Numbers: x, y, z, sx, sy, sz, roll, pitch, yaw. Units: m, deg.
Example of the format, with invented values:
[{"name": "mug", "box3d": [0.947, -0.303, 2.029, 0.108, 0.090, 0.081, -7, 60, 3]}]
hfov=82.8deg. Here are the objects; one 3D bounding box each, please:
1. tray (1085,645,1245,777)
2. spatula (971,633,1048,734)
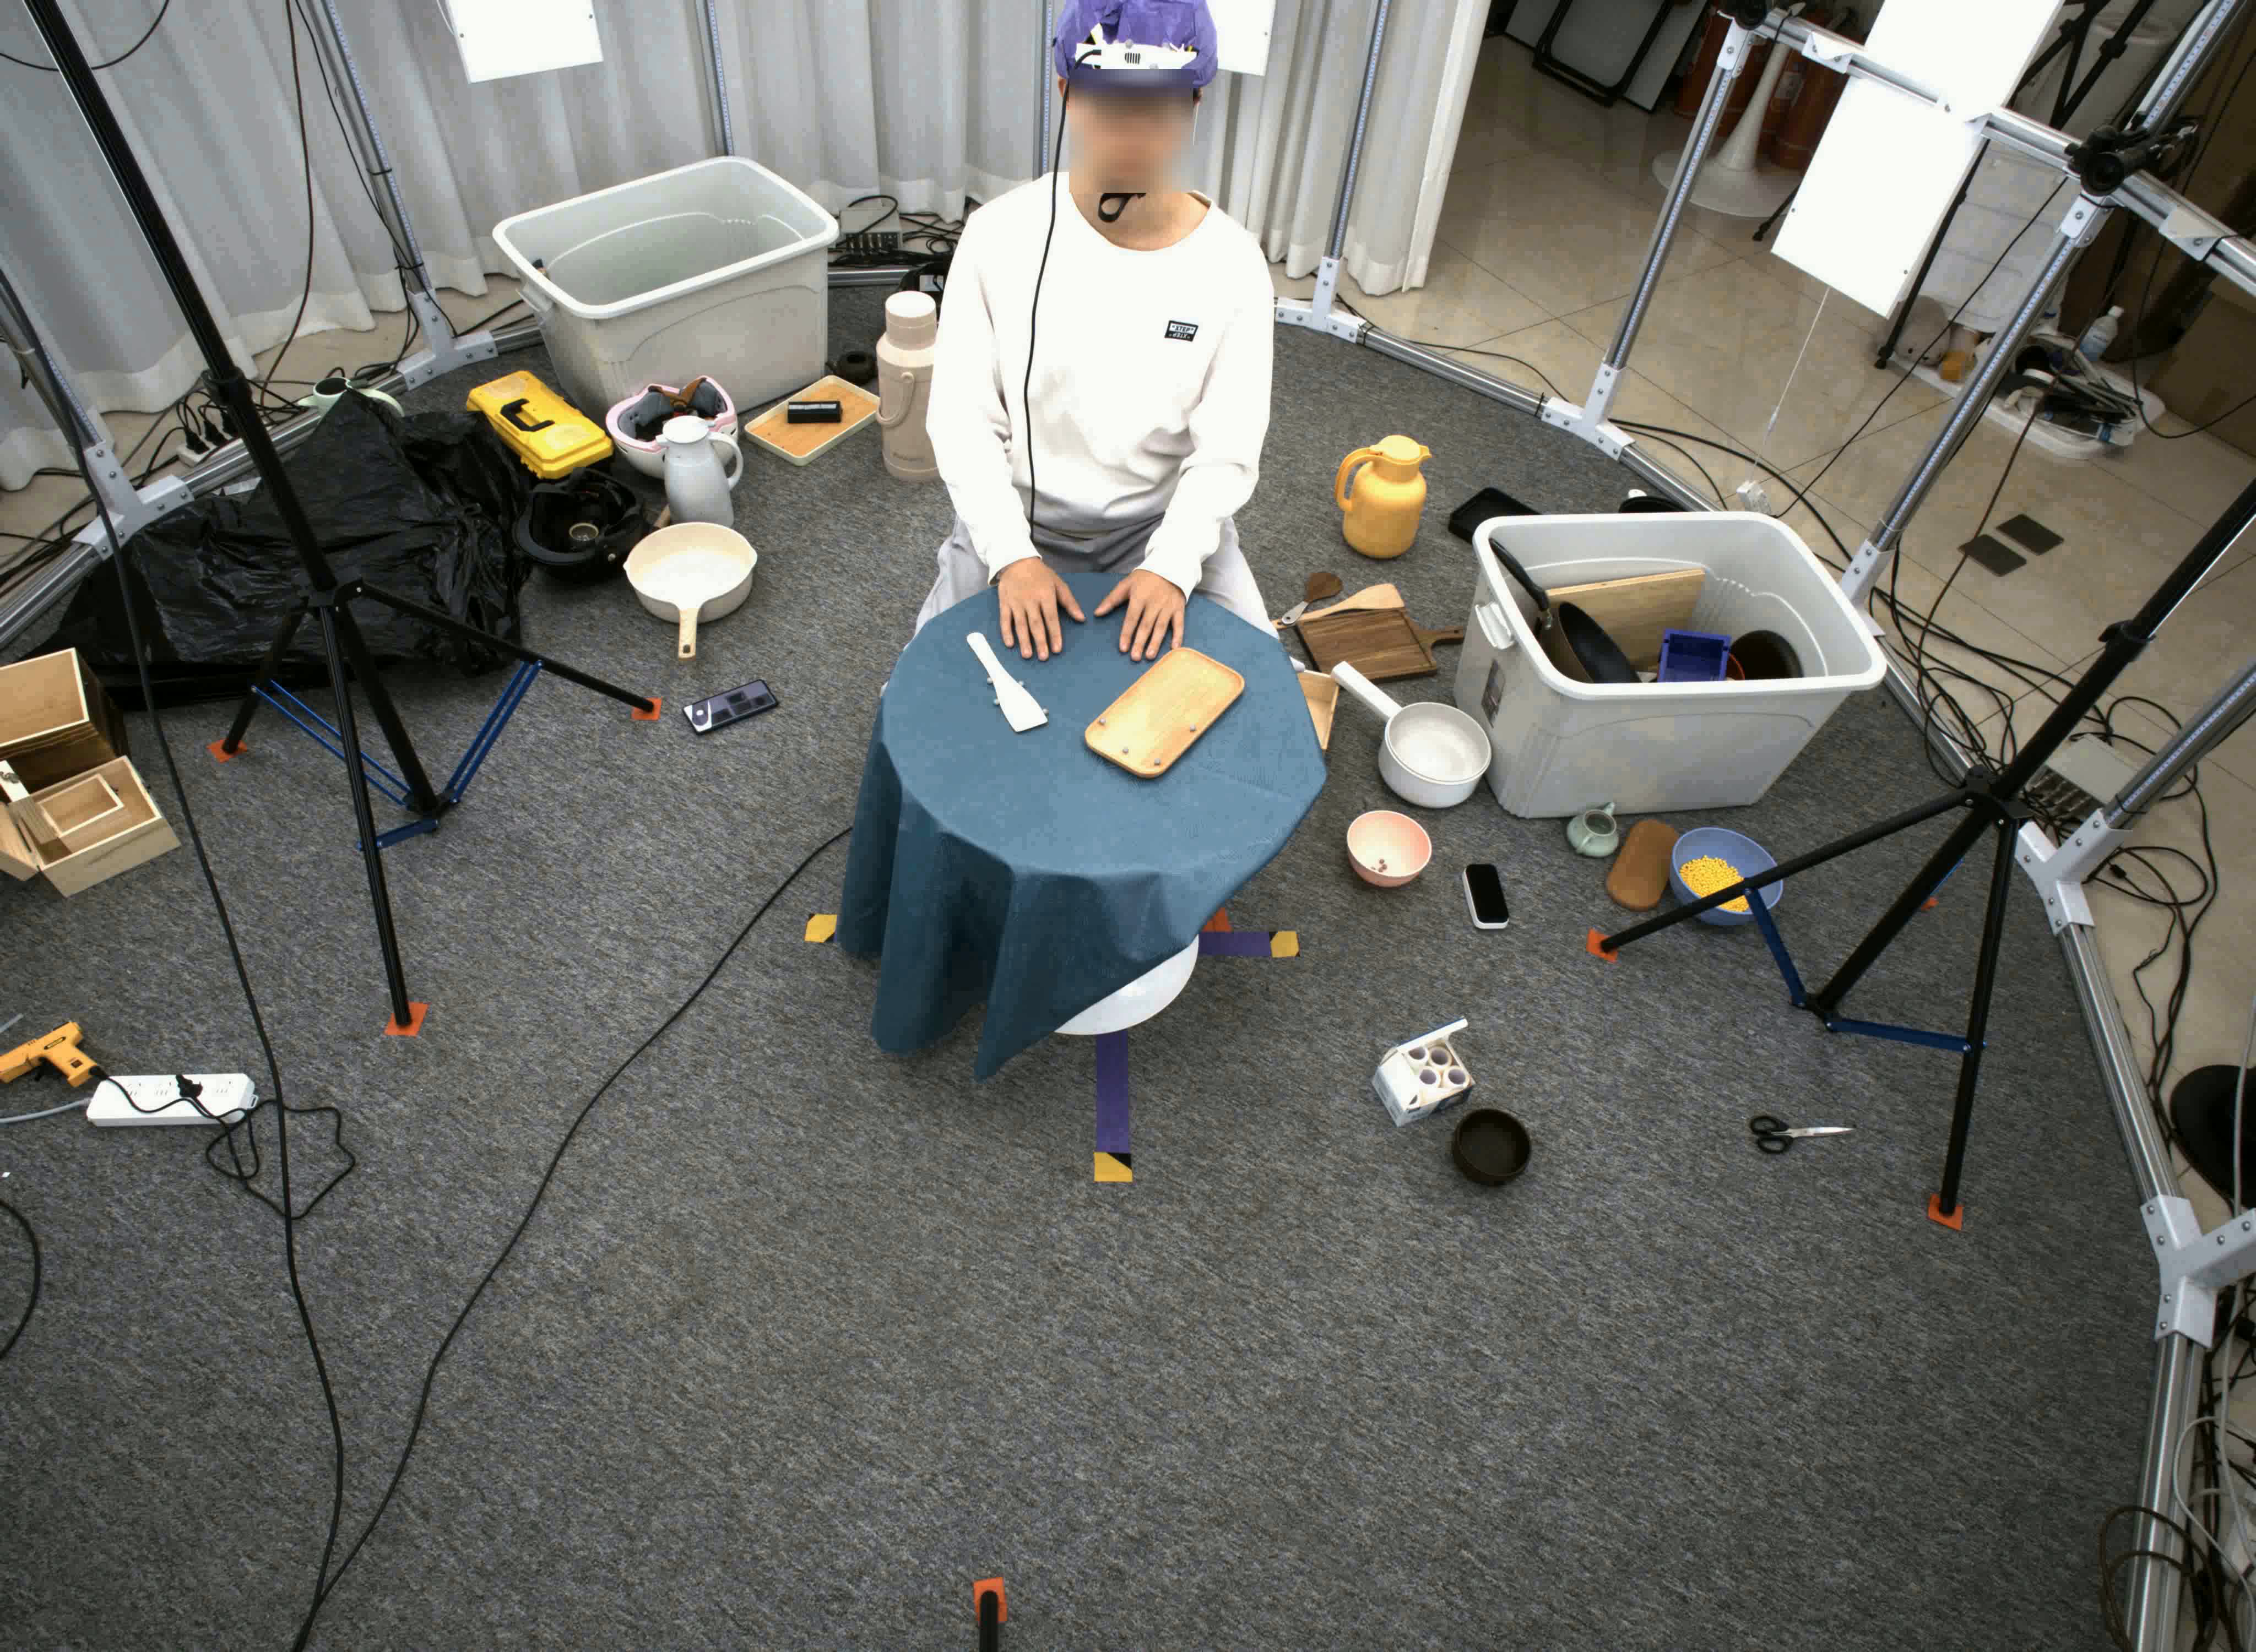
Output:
[{"name": "tray", "box3d": [0.054, -0.164, 1.798, 0.132, 0.022, 0.254, 32, 53, 19]}, {"name": "spatula", "box3d": [-0.175, -0.207, 1.826, 0.050, 0.005, 0.212, -17, 53, -19]}]
